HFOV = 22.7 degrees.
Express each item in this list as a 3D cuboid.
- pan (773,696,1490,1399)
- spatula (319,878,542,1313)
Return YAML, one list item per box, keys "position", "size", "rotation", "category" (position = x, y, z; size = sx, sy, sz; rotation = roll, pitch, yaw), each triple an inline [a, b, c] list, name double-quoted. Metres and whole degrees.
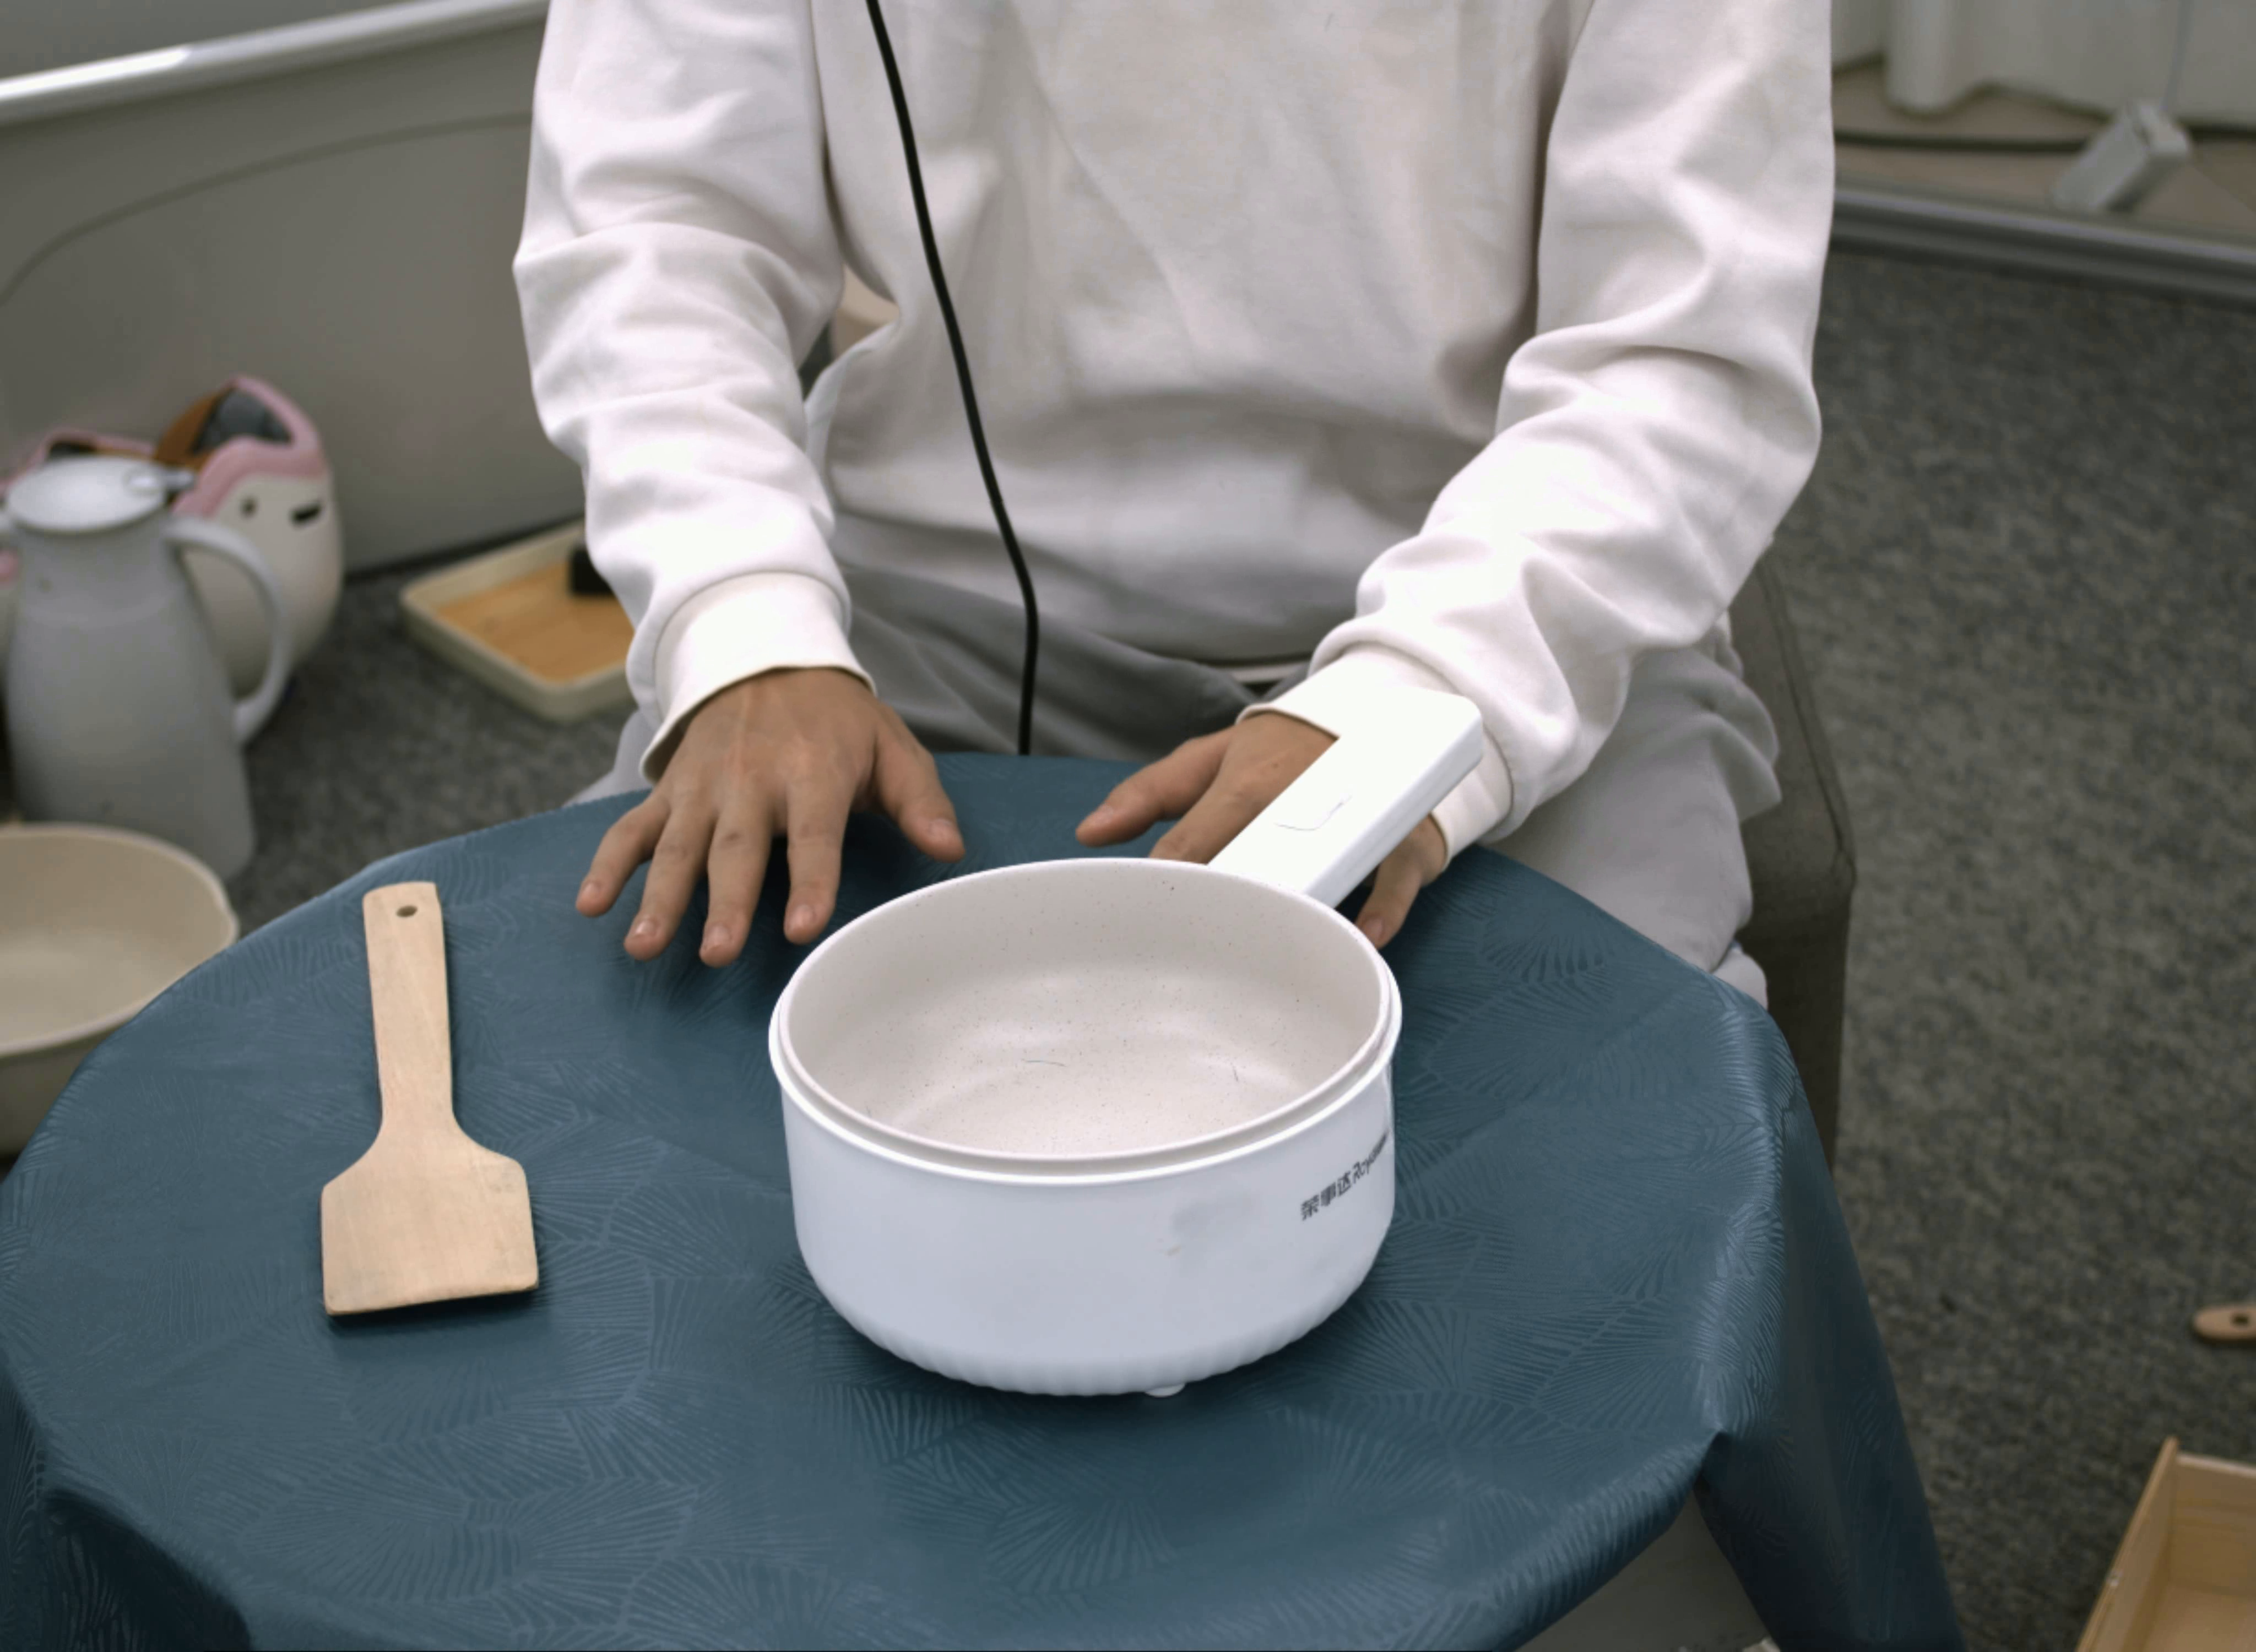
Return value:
- position: [0.026, 0.070, 1.860]
  size: [0.200, 0.101, 0.360]
  rotation: [10, 29, 26]
  category: "pan"
- position: [-0.245, 0.089, 1.939]
  size: [0.072, 0.010, 0.297]
  rotation: [-7, 28, -6]
  category: "spatula"
